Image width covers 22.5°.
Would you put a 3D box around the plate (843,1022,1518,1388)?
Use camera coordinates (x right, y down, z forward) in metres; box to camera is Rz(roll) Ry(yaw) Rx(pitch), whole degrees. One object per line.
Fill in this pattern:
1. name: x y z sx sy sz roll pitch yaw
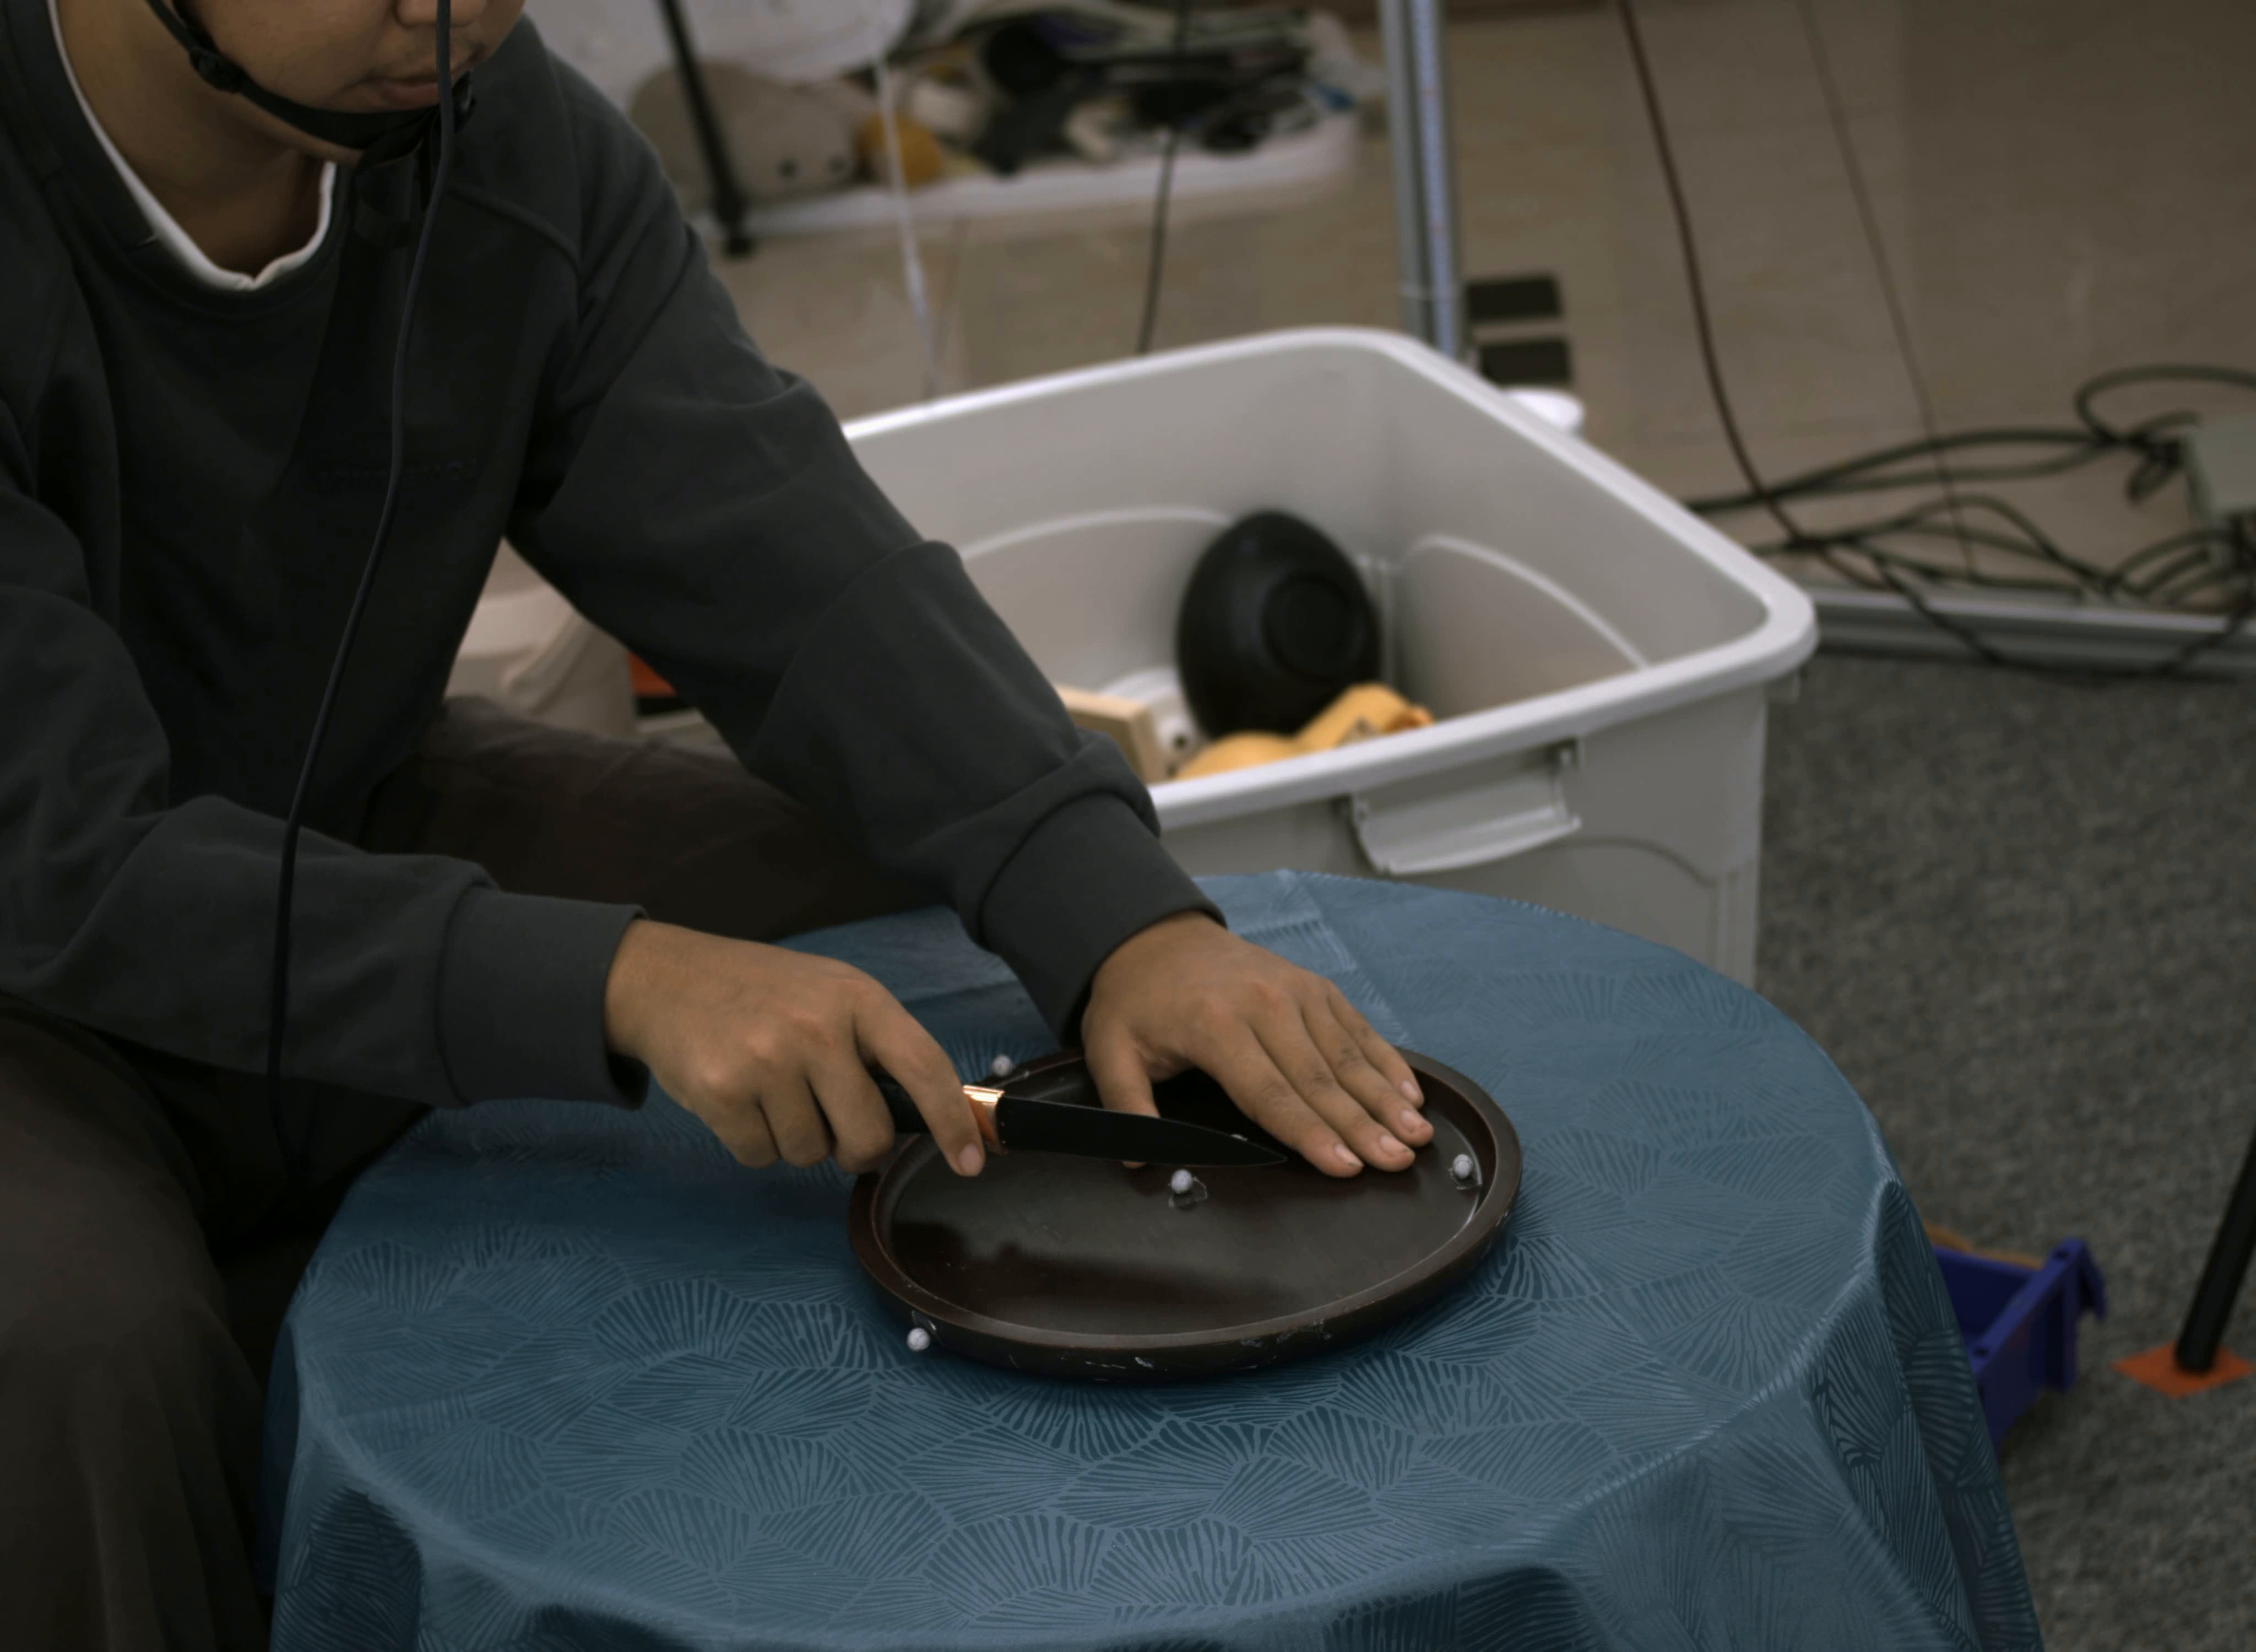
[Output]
1. plate: 0.020 0.140 2.114 0.254 0.029 0.251 -7 24 3

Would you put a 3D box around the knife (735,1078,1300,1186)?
1. knife: -0.043 0.113 2.112 0.225 0.026 0.017 6 28 20
